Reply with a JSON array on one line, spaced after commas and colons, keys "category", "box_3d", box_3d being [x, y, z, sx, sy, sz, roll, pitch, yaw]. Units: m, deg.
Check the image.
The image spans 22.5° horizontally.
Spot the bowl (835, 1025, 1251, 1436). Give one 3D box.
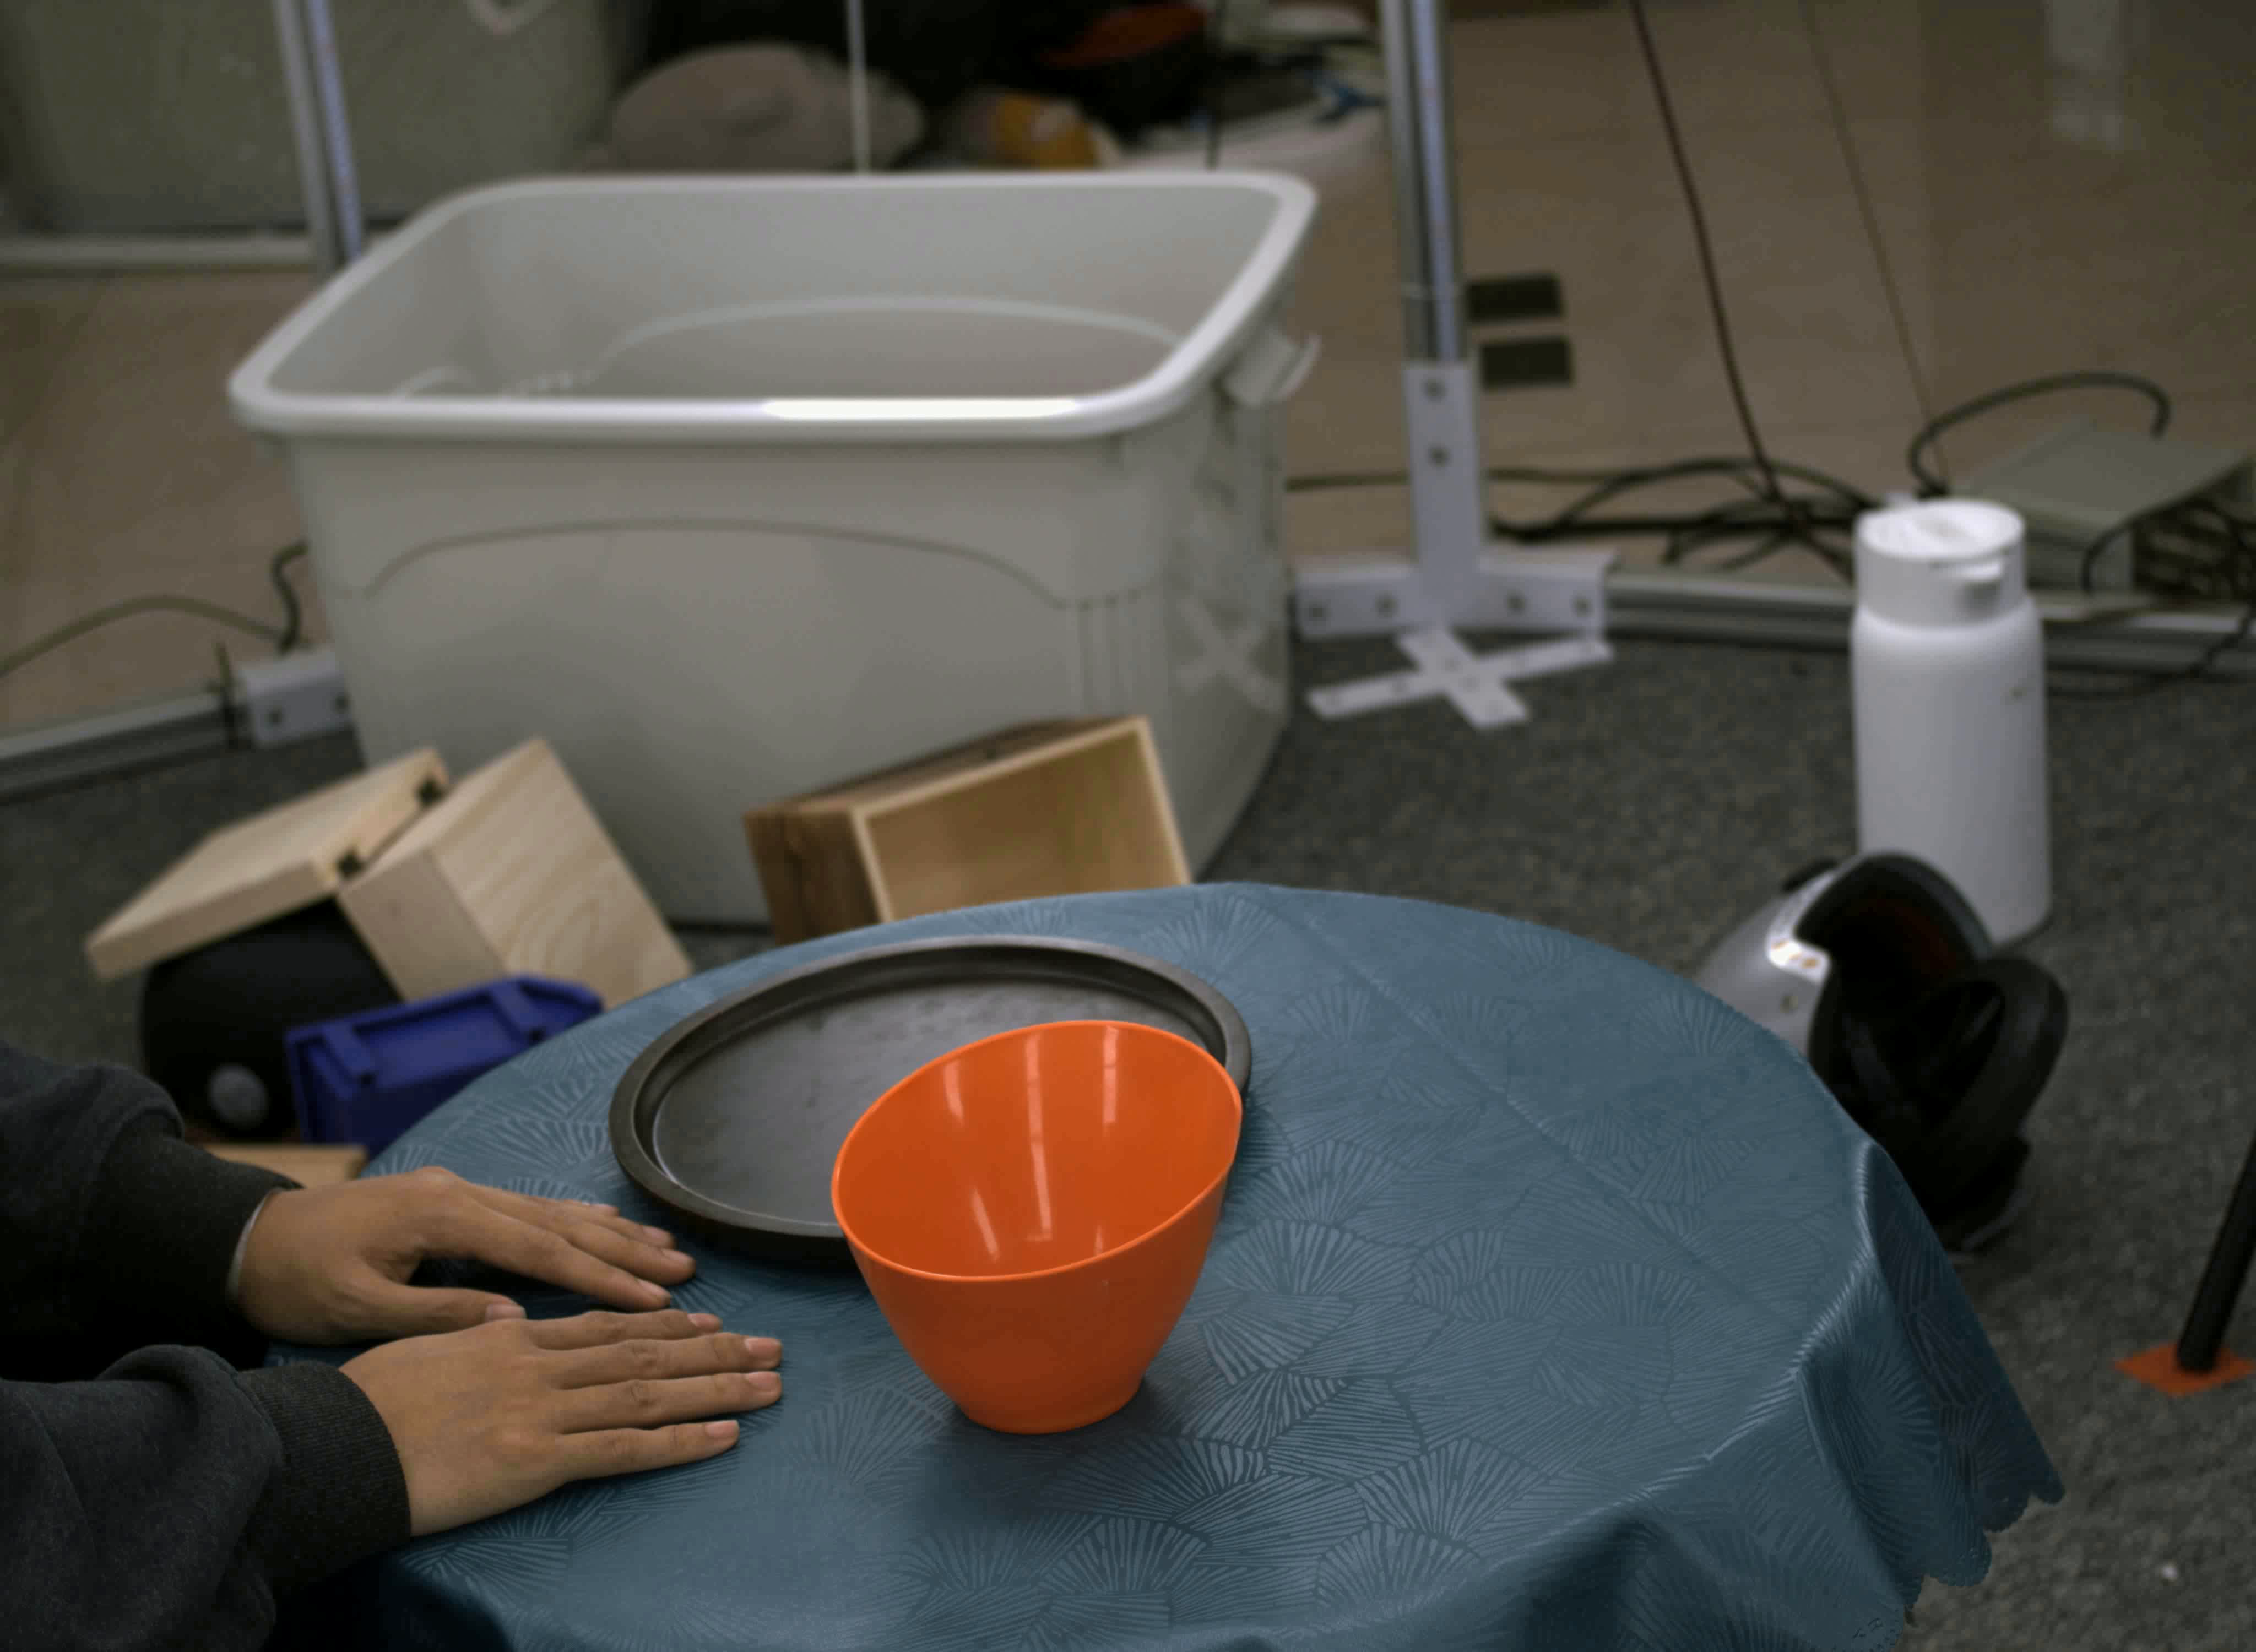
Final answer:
[{"category": "bowl", "box_3d": [-0.027, 0.150, 2.009, 0.148, 0.106, 0.146, -4, 26, 2]}]

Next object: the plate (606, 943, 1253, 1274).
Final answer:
[{"category": "plate", "box_3d": [-0.077, 0.108, 2.206, 0.254, 0.029, 0.251, -5, 26, 3]}]
